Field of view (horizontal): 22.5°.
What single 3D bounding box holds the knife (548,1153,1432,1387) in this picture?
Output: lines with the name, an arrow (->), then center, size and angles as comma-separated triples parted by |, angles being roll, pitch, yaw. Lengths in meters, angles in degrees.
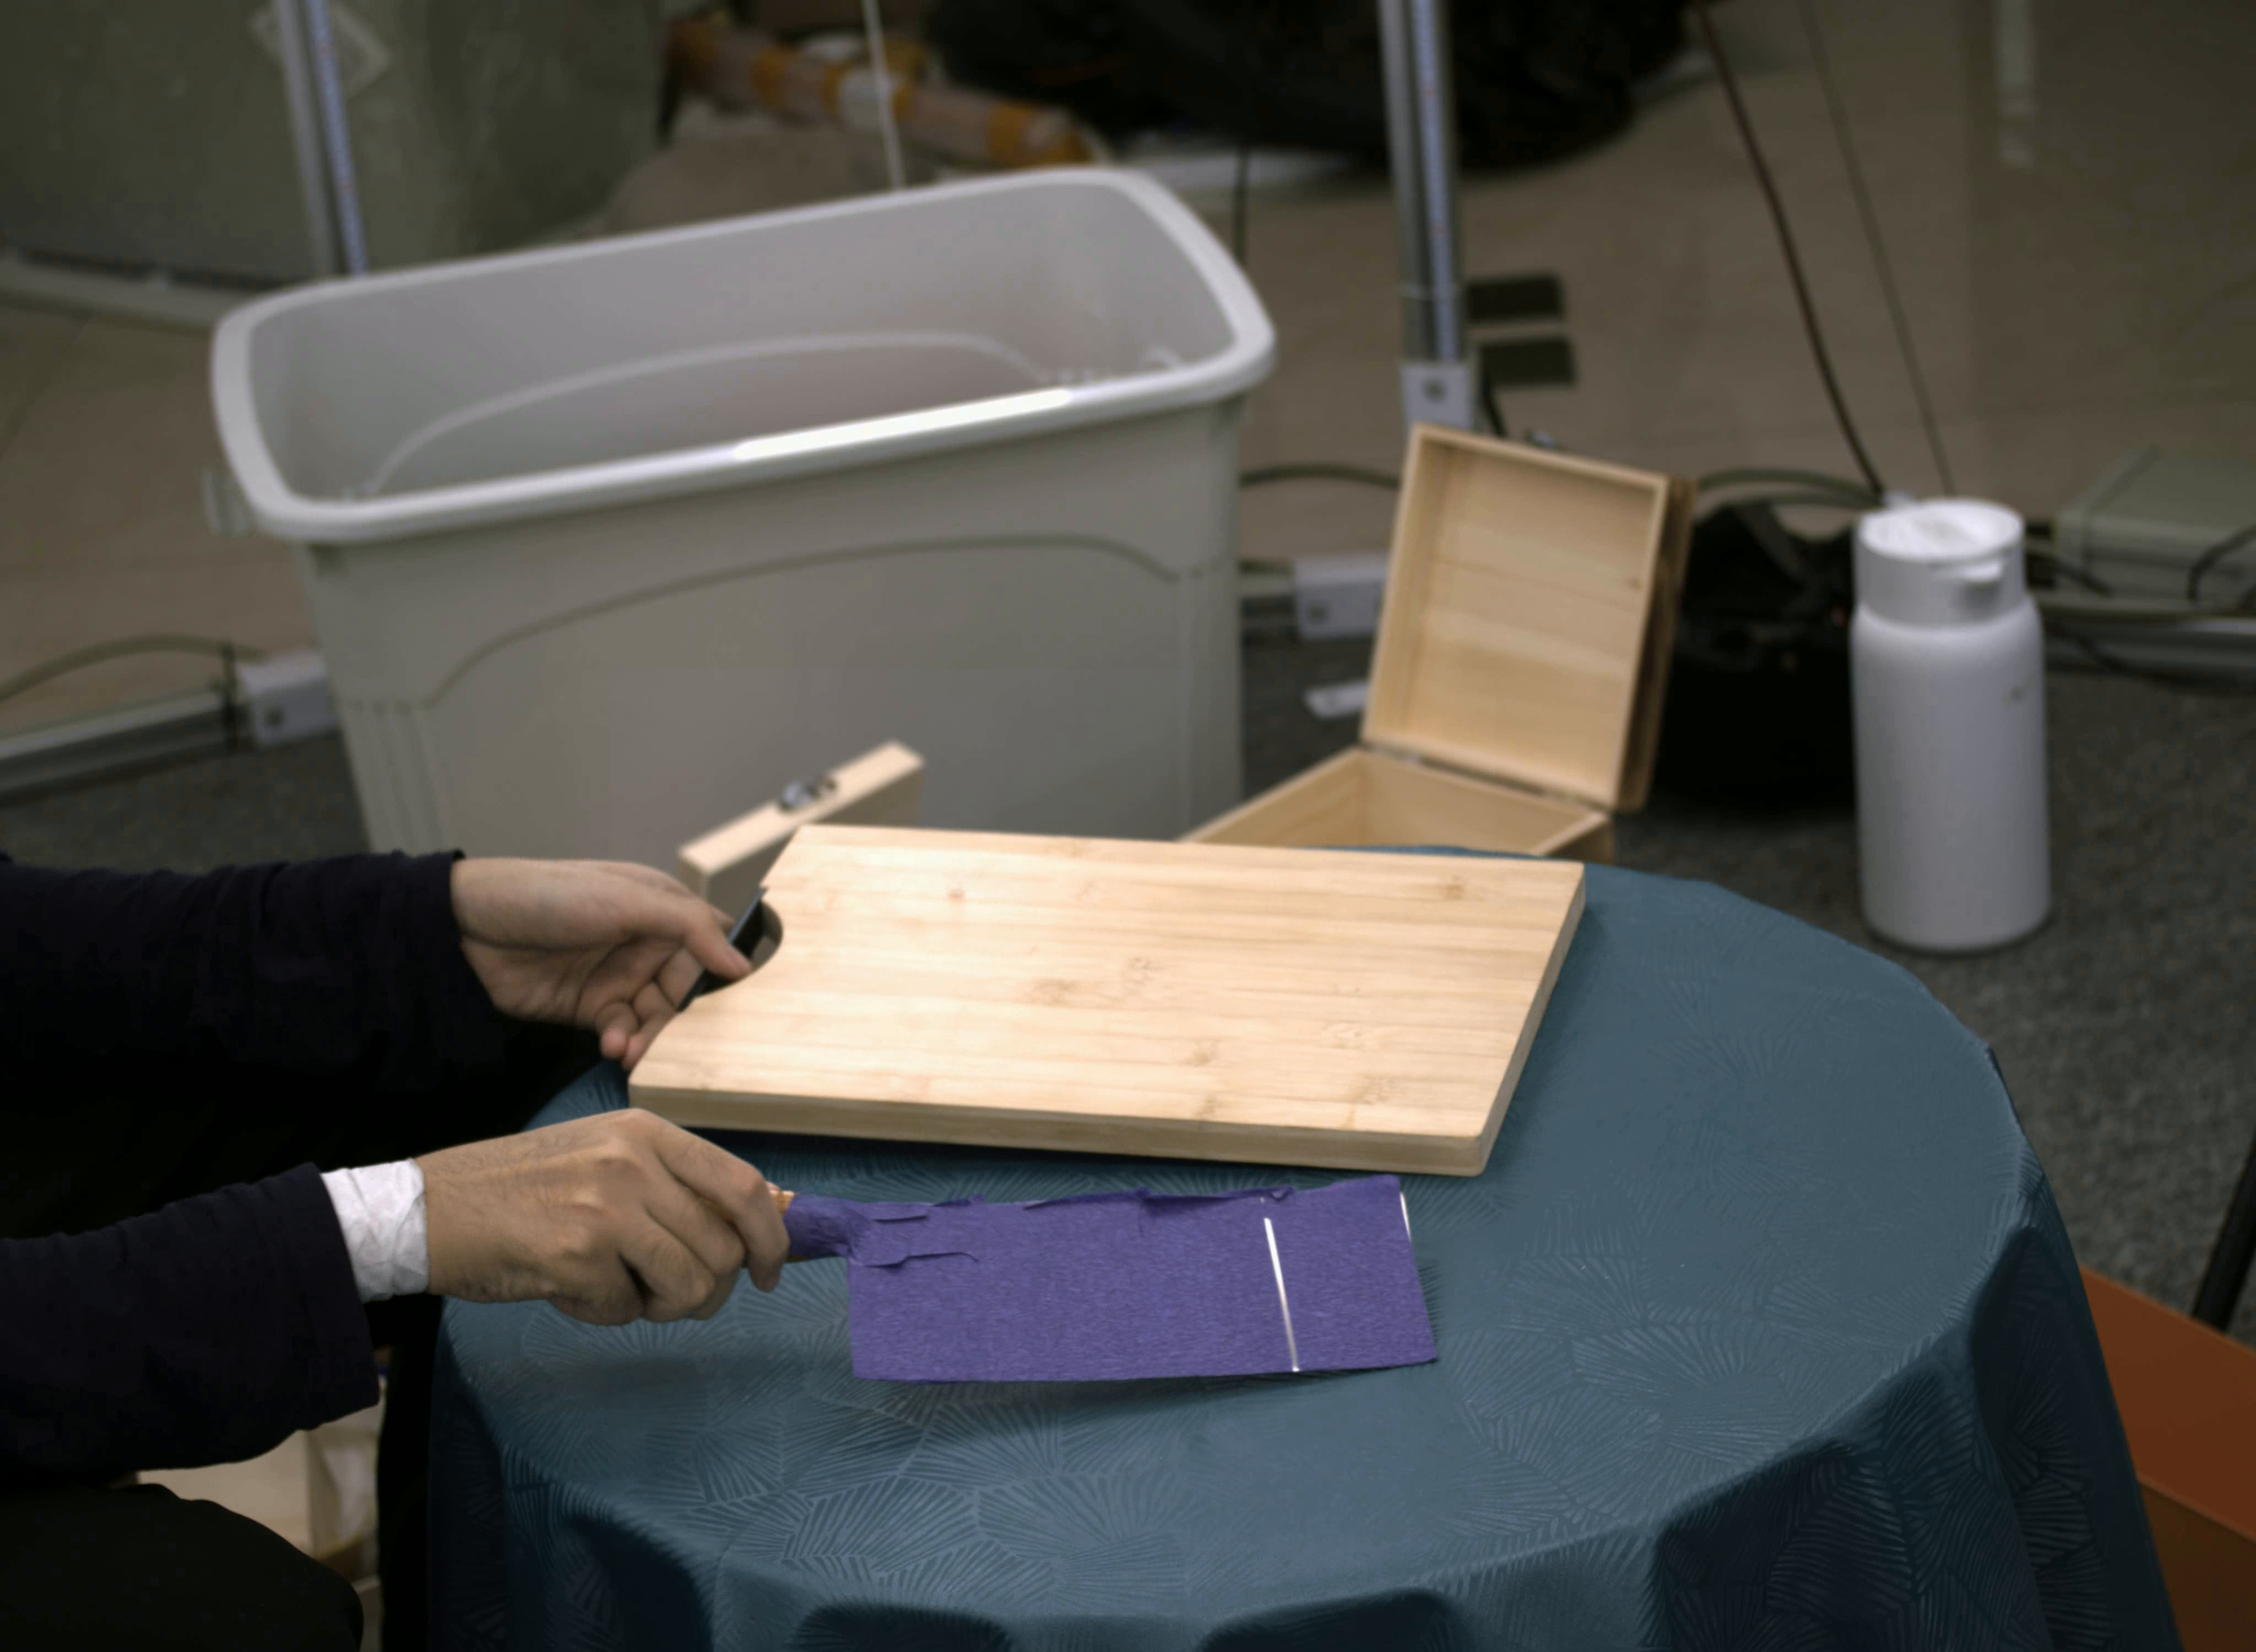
knife -> -0.050, 0.161, 2.031 | 0.315, 0.033, 0.102 | -4, 42, -4

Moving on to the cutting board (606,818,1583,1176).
cutting board -> -0.009, 0.065, 2.275 | 0.348, 0.024, 0.247 | 3, 26, 14
